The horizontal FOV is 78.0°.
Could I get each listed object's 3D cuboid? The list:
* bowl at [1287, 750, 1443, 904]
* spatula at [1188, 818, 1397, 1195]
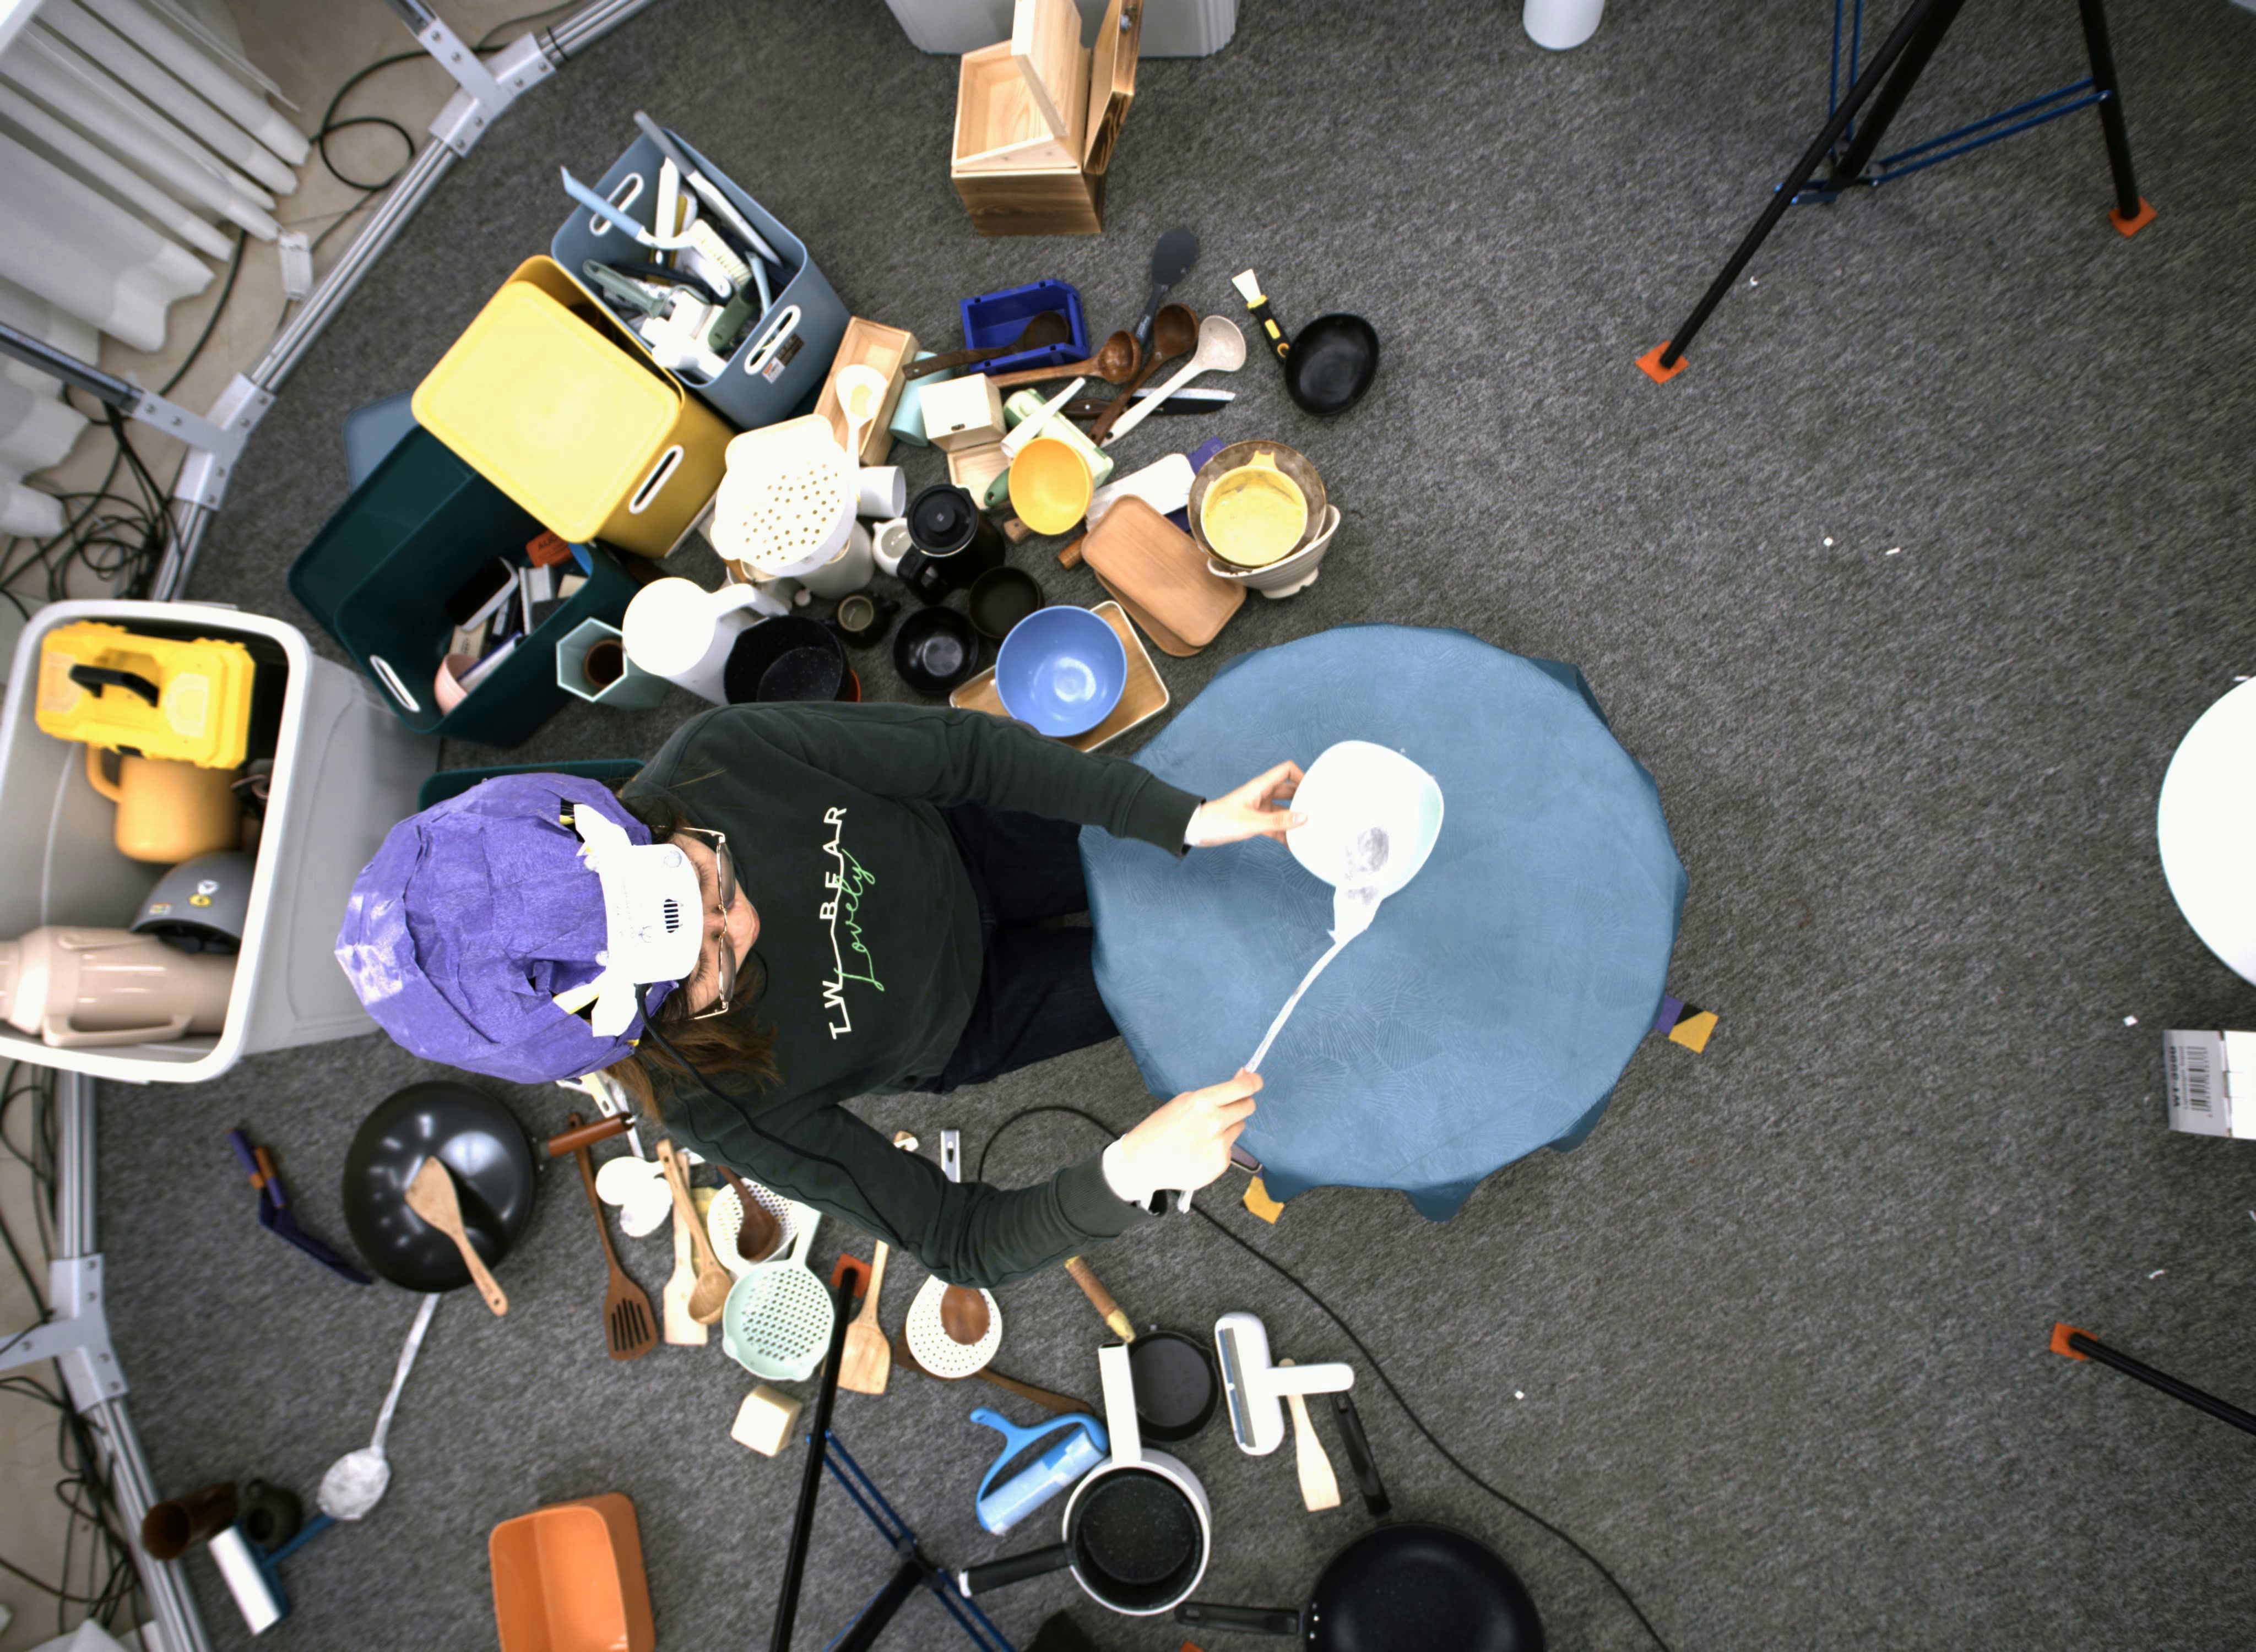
[{"bbox_3d":[0.229,-0.003,1.343,0.152,0.058,0.152,1,100,6],"label":"bowl"},{"bbox_3d":[0.137,0.149,1.187,0.045,0.099,0.360,38,76,-12],"label":"spatula"}]
